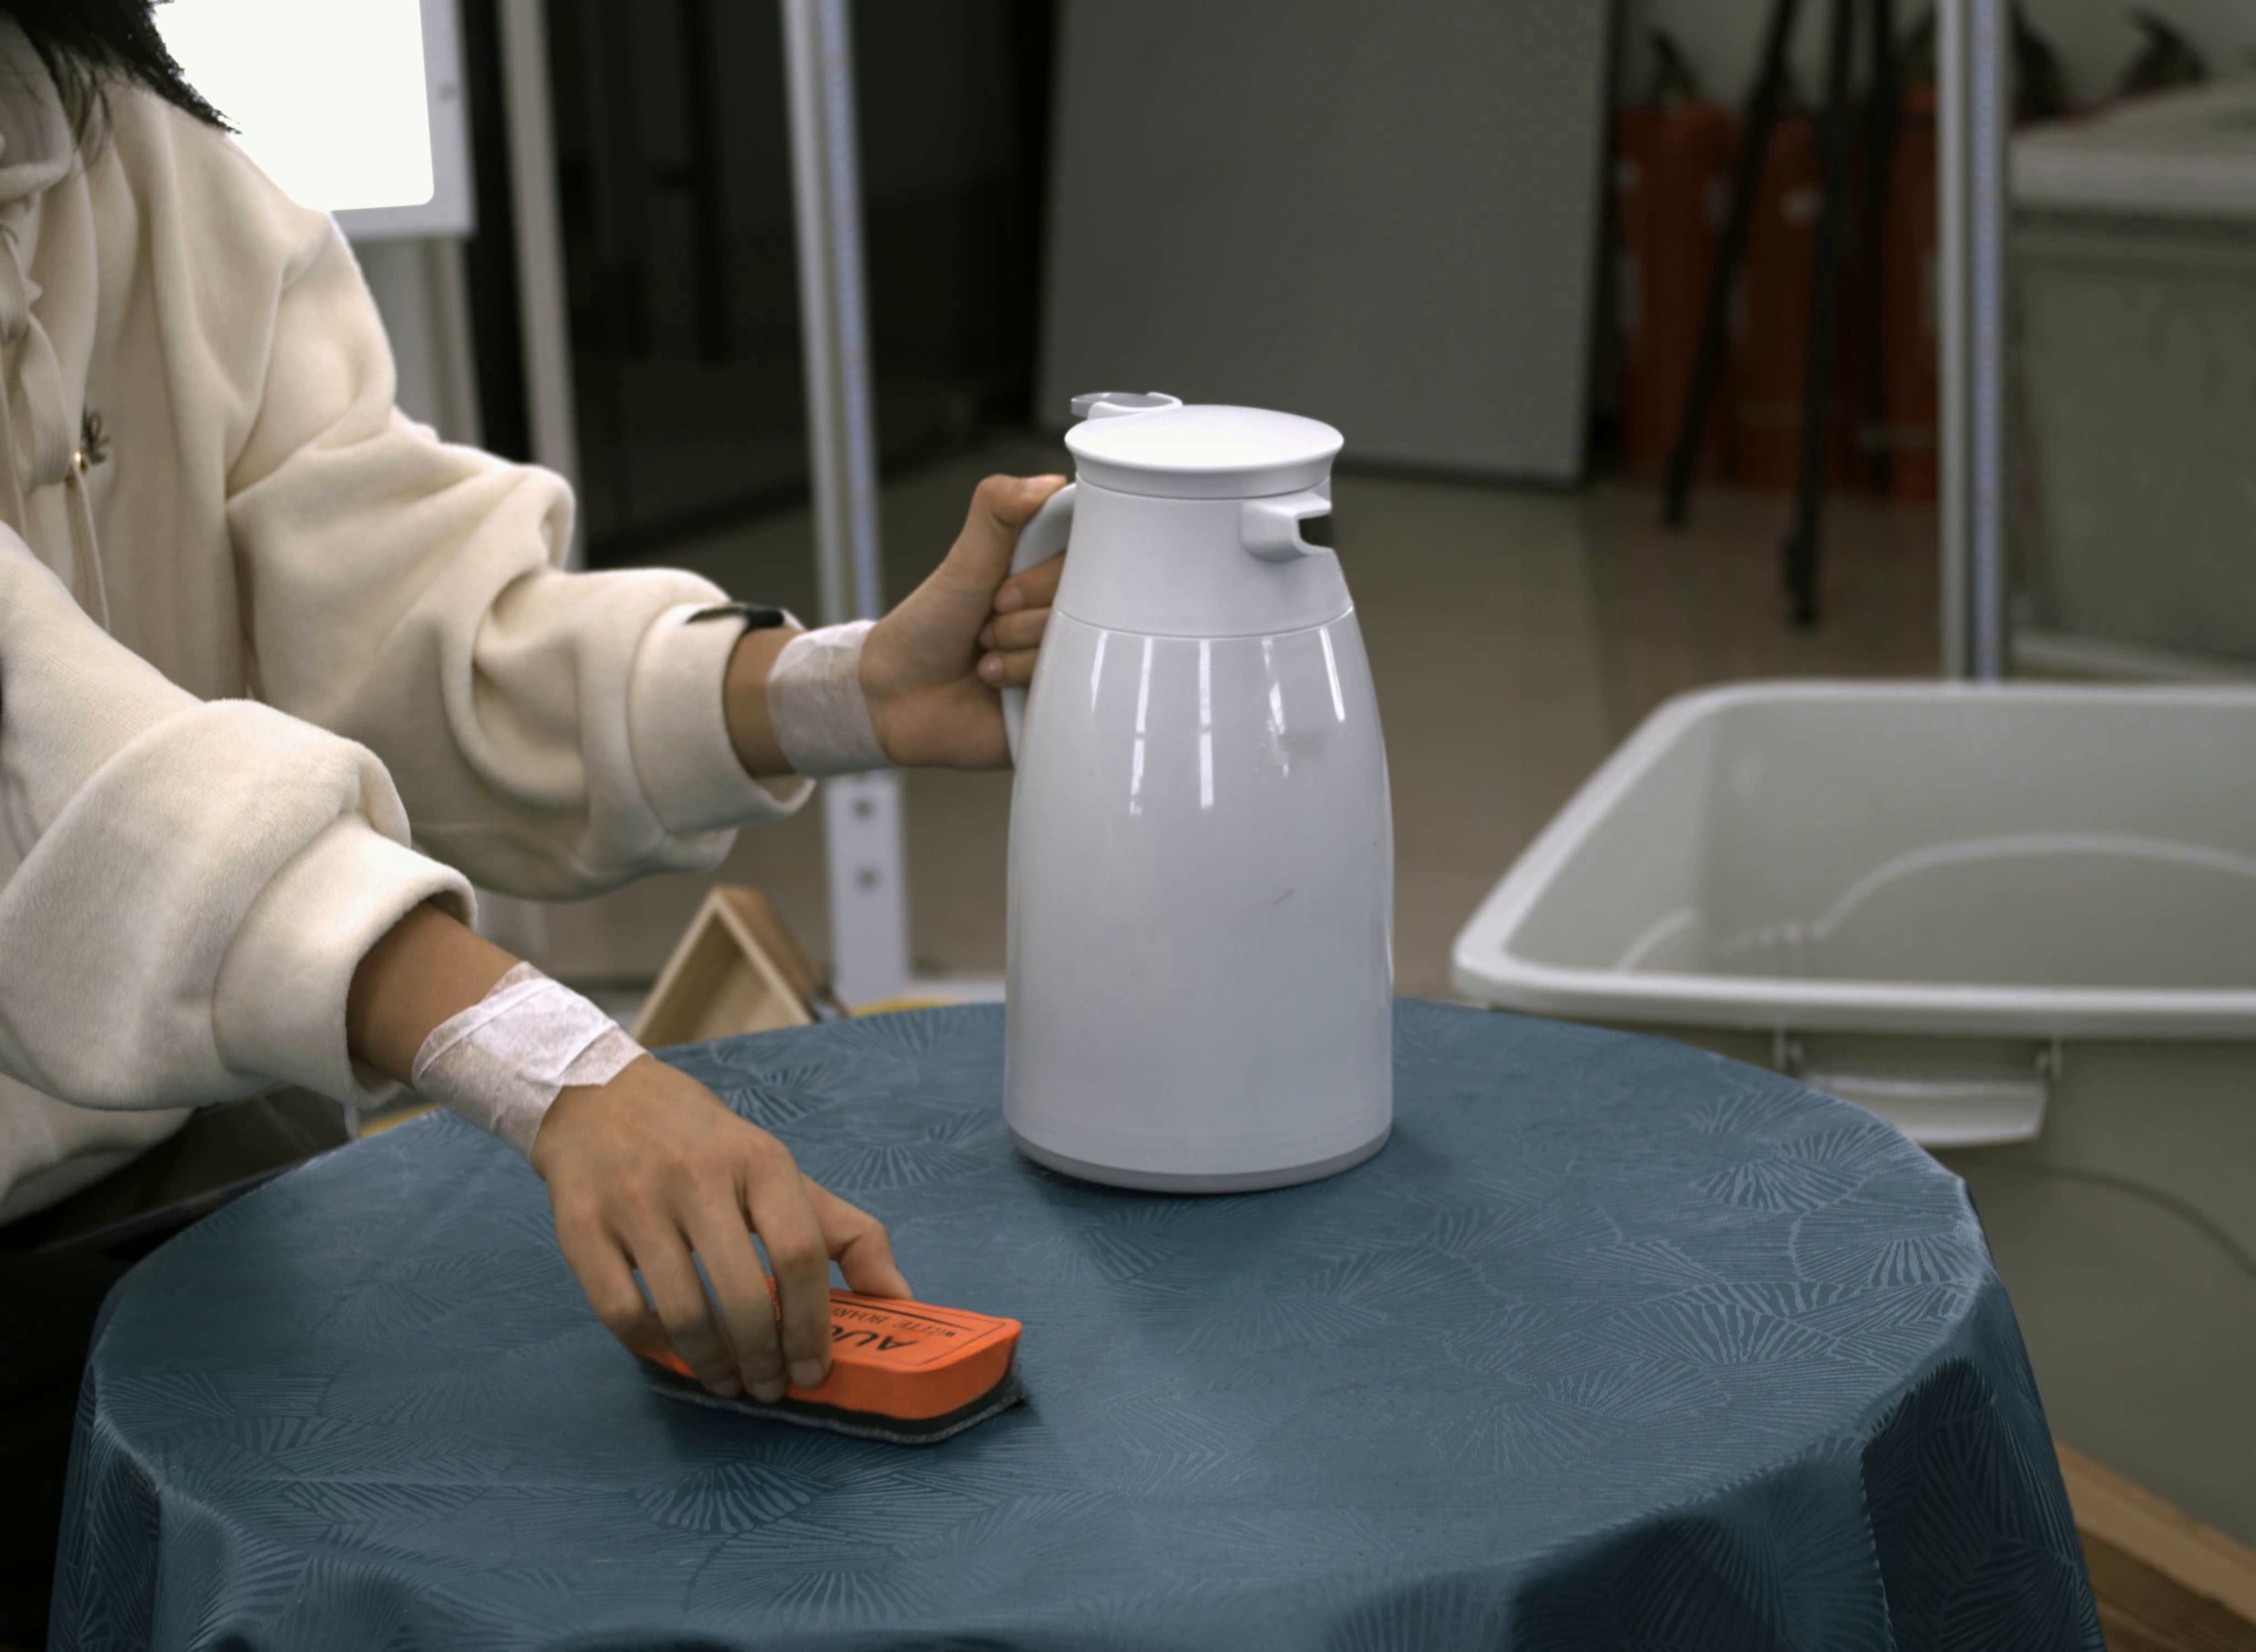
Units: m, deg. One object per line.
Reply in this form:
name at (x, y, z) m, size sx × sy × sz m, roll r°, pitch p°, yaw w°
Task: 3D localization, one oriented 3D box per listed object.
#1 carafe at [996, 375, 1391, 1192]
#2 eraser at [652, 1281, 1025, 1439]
carafe at (0.011, -0.022, 1.800) m, size 0.129 × 0.251 × 0.169 m, roll -11°, pitch 17°, yaw -35°
eraser at (-0.085, 0.157, 1.595) m, size 0.109 × 0.023 × 0.058 m, roll 5°, pitch 12°, yaw 36°
